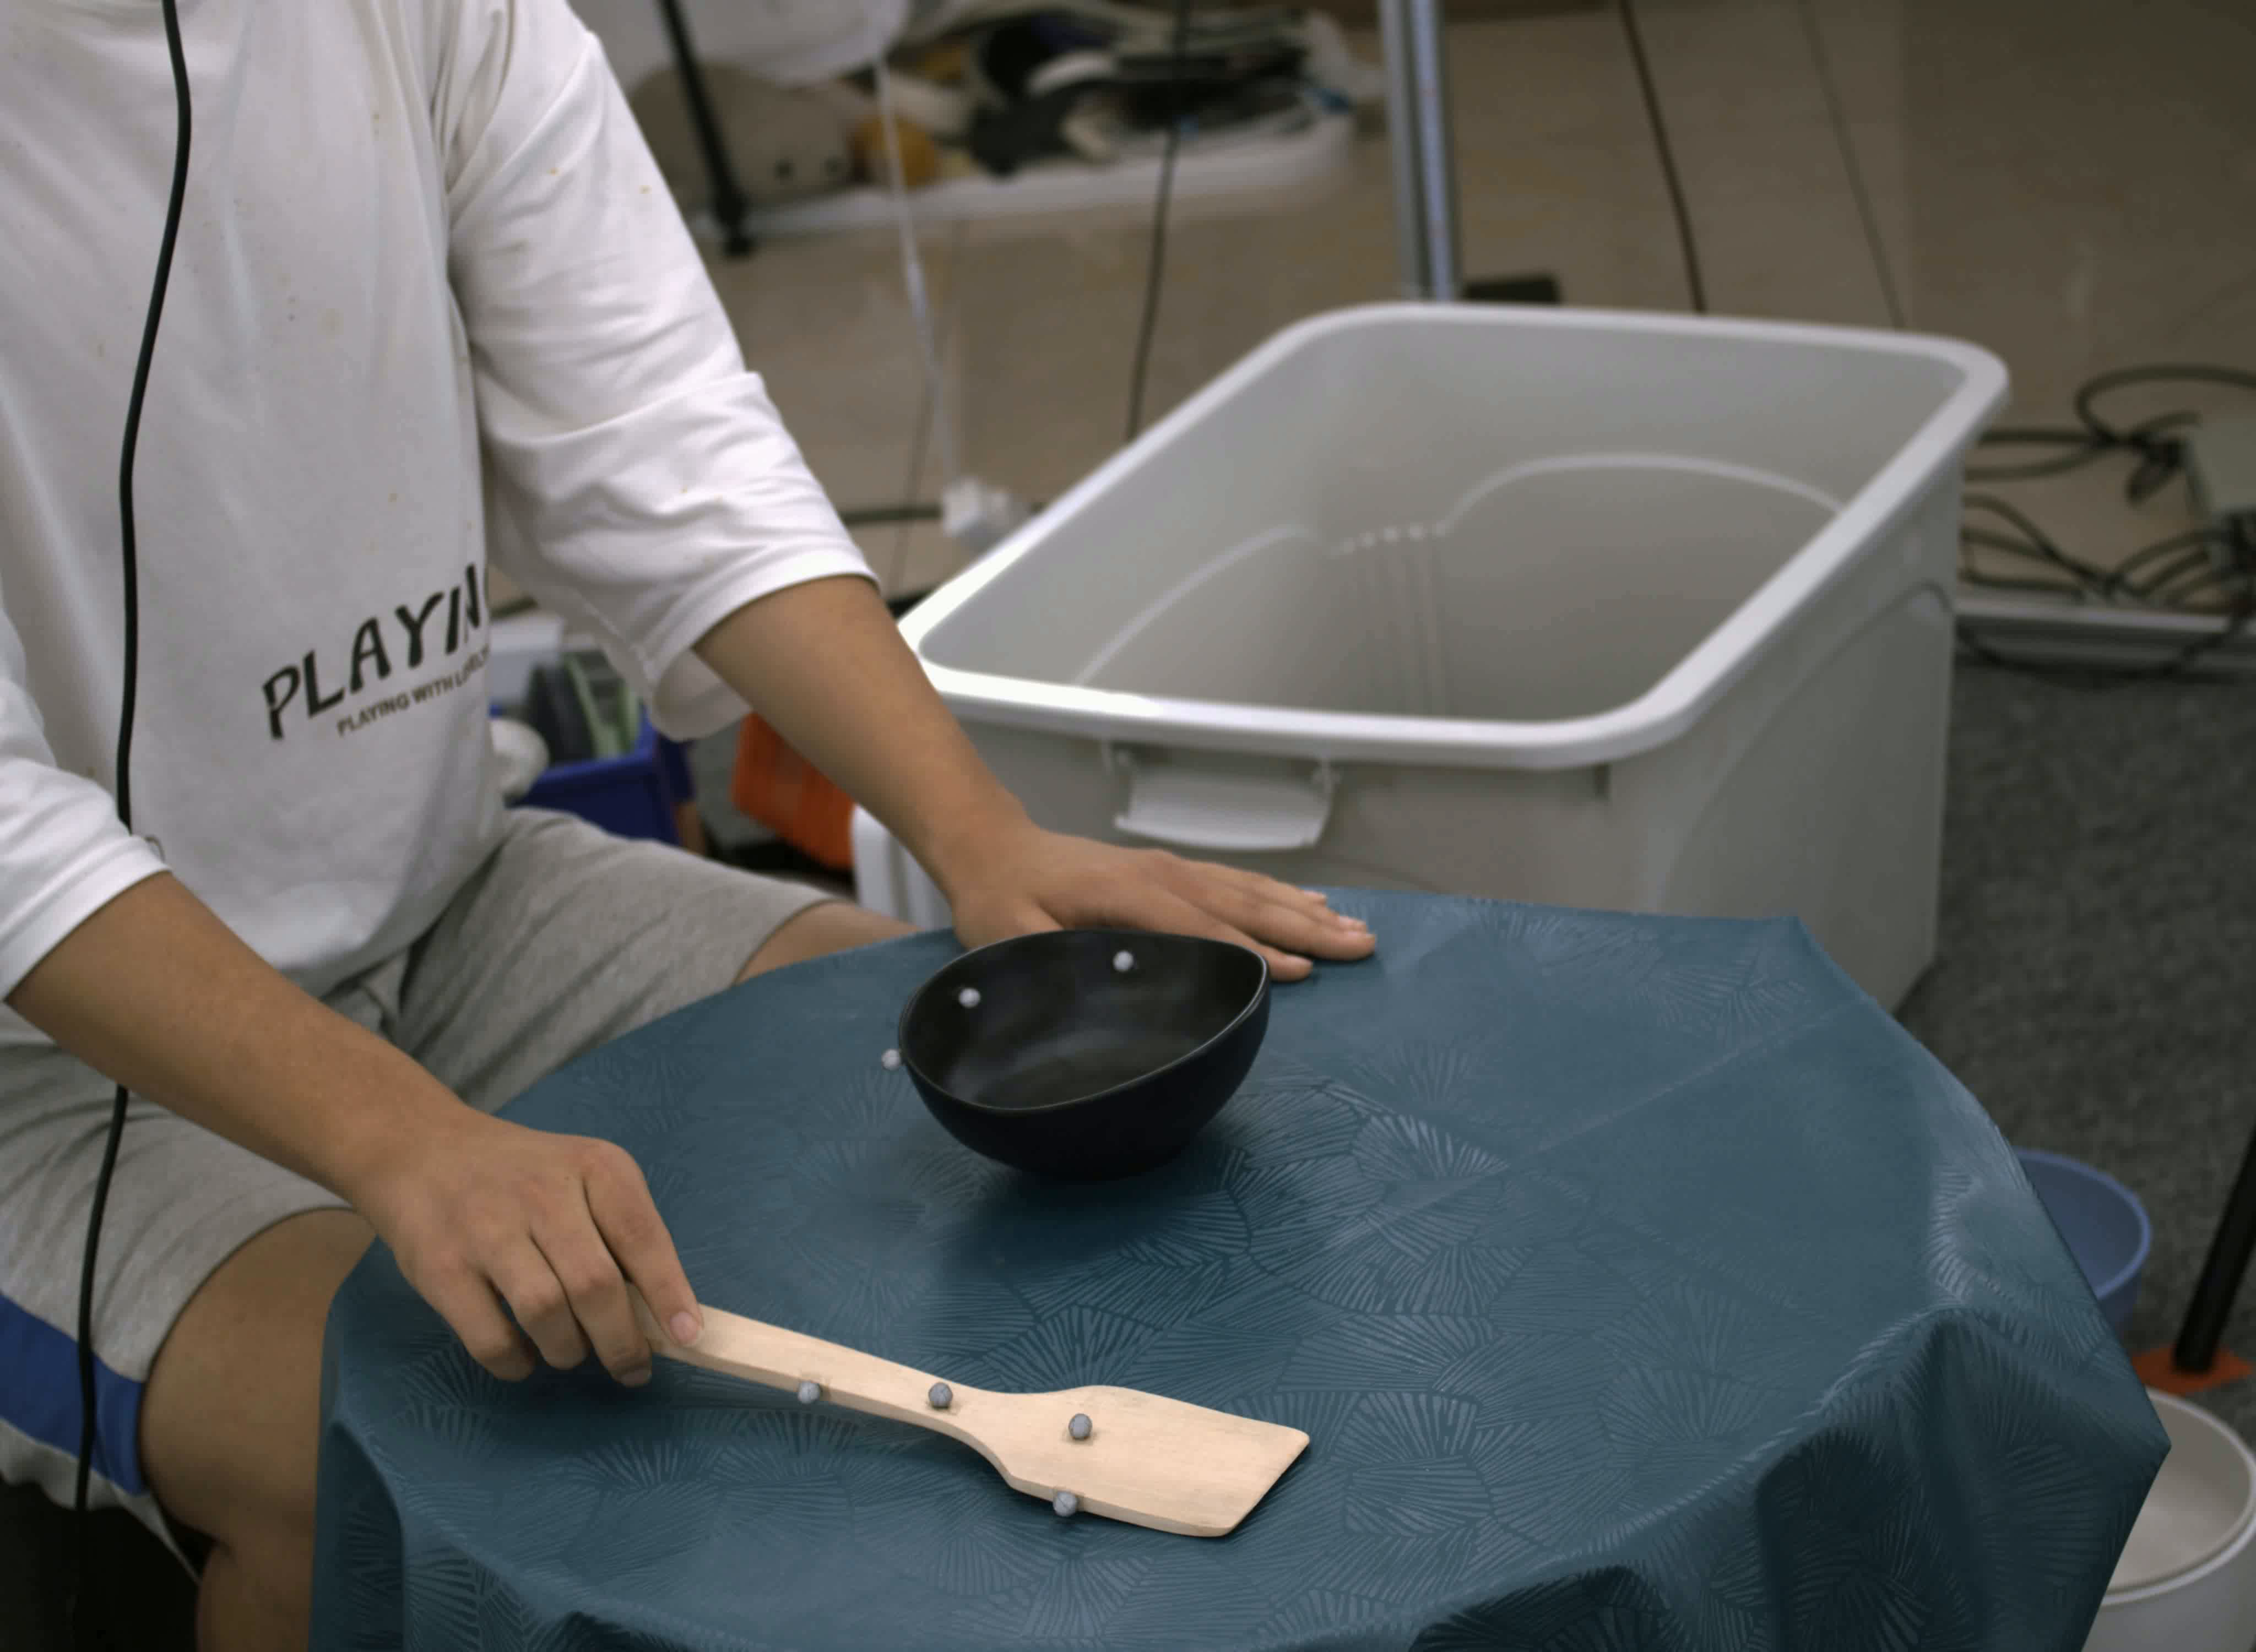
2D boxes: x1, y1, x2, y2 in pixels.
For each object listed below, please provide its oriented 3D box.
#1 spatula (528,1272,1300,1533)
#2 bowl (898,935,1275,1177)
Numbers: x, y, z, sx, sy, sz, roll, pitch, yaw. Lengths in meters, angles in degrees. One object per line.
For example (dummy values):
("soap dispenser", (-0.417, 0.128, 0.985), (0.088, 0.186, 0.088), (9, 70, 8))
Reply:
("spatula", (-0.084, 0.198, 2.000), (0.291, 0.011, 0.071), (12, 30, 23))
("bowl", (-0.013, 0.092, 2.174), (0.137, 0.068, 0.168), (6, 26, 26))
